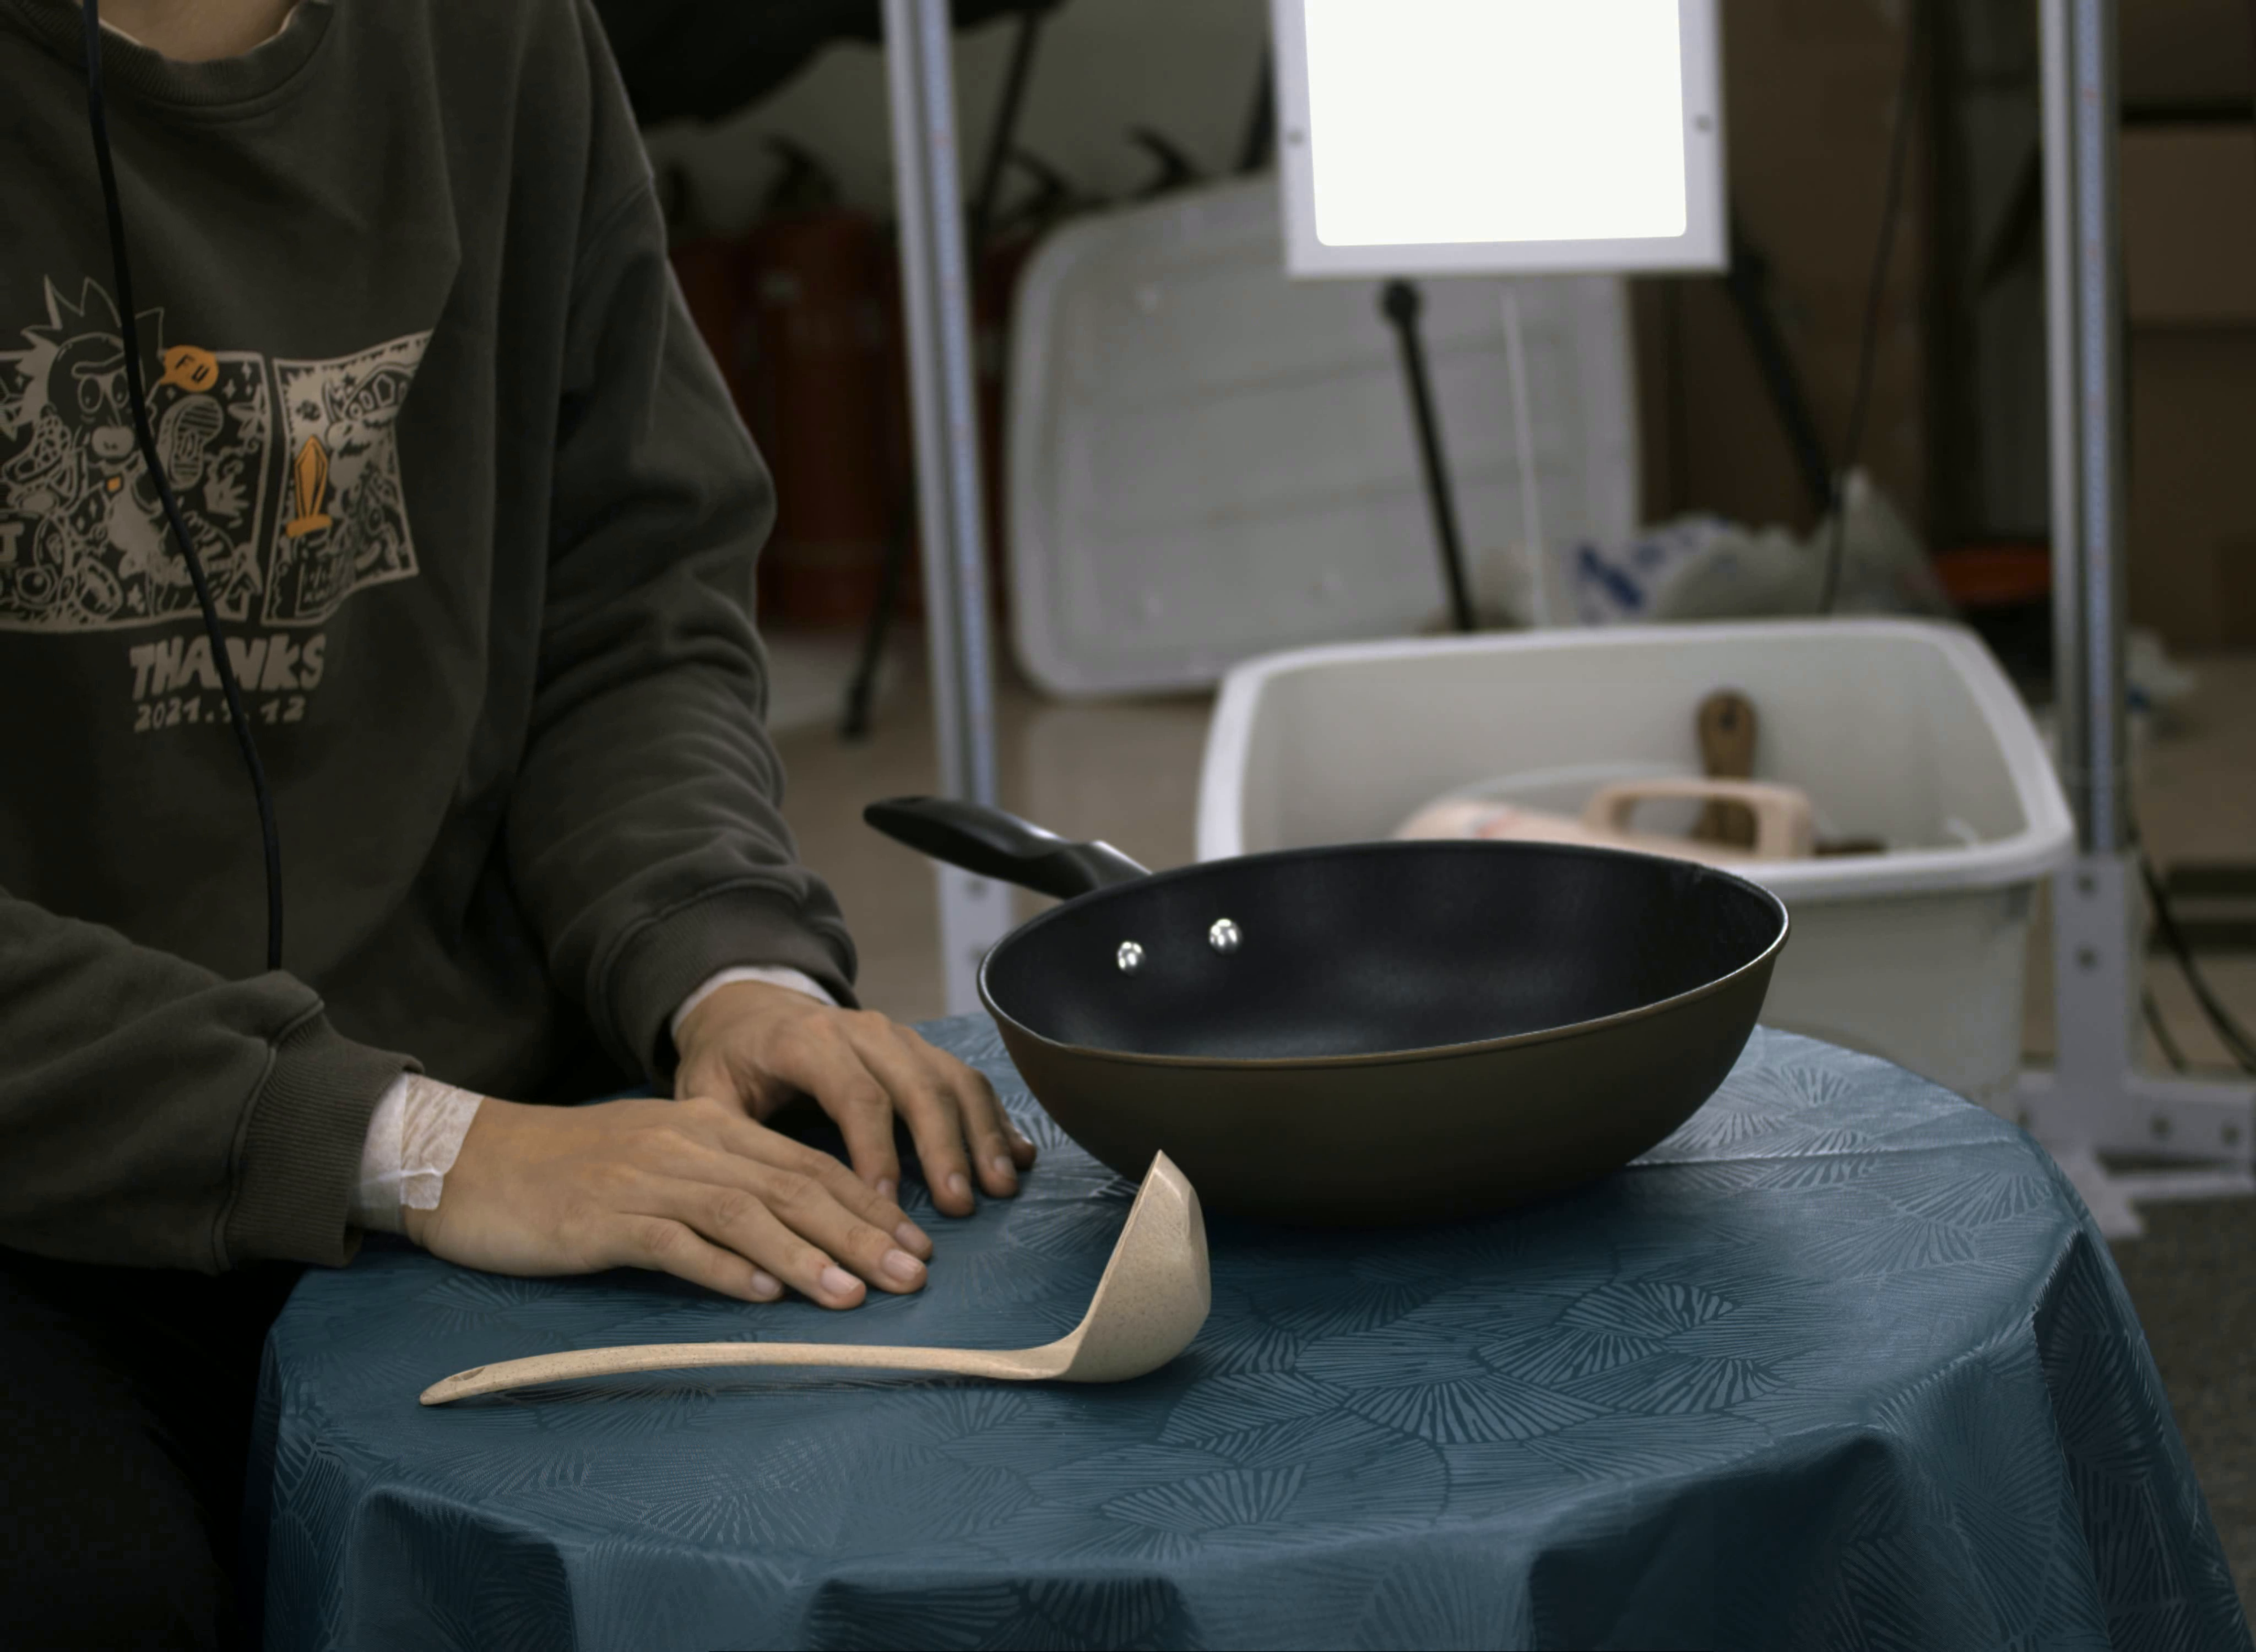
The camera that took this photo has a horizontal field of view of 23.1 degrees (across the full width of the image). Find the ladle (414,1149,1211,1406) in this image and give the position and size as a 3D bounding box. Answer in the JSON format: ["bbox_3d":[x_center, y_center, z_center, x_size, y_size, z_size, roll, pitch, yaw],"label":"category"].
[{"bbox_3d":[-0.101,0.141,1.721,0.255,0.073,0.071,-2,16,7],"label":"ladle"}]

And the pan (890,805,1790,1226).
[{"bbox_3d":[0.038,0.063,1.968,0.281,0.087,0.472,-14,15,-31],"label":"pan"}]
